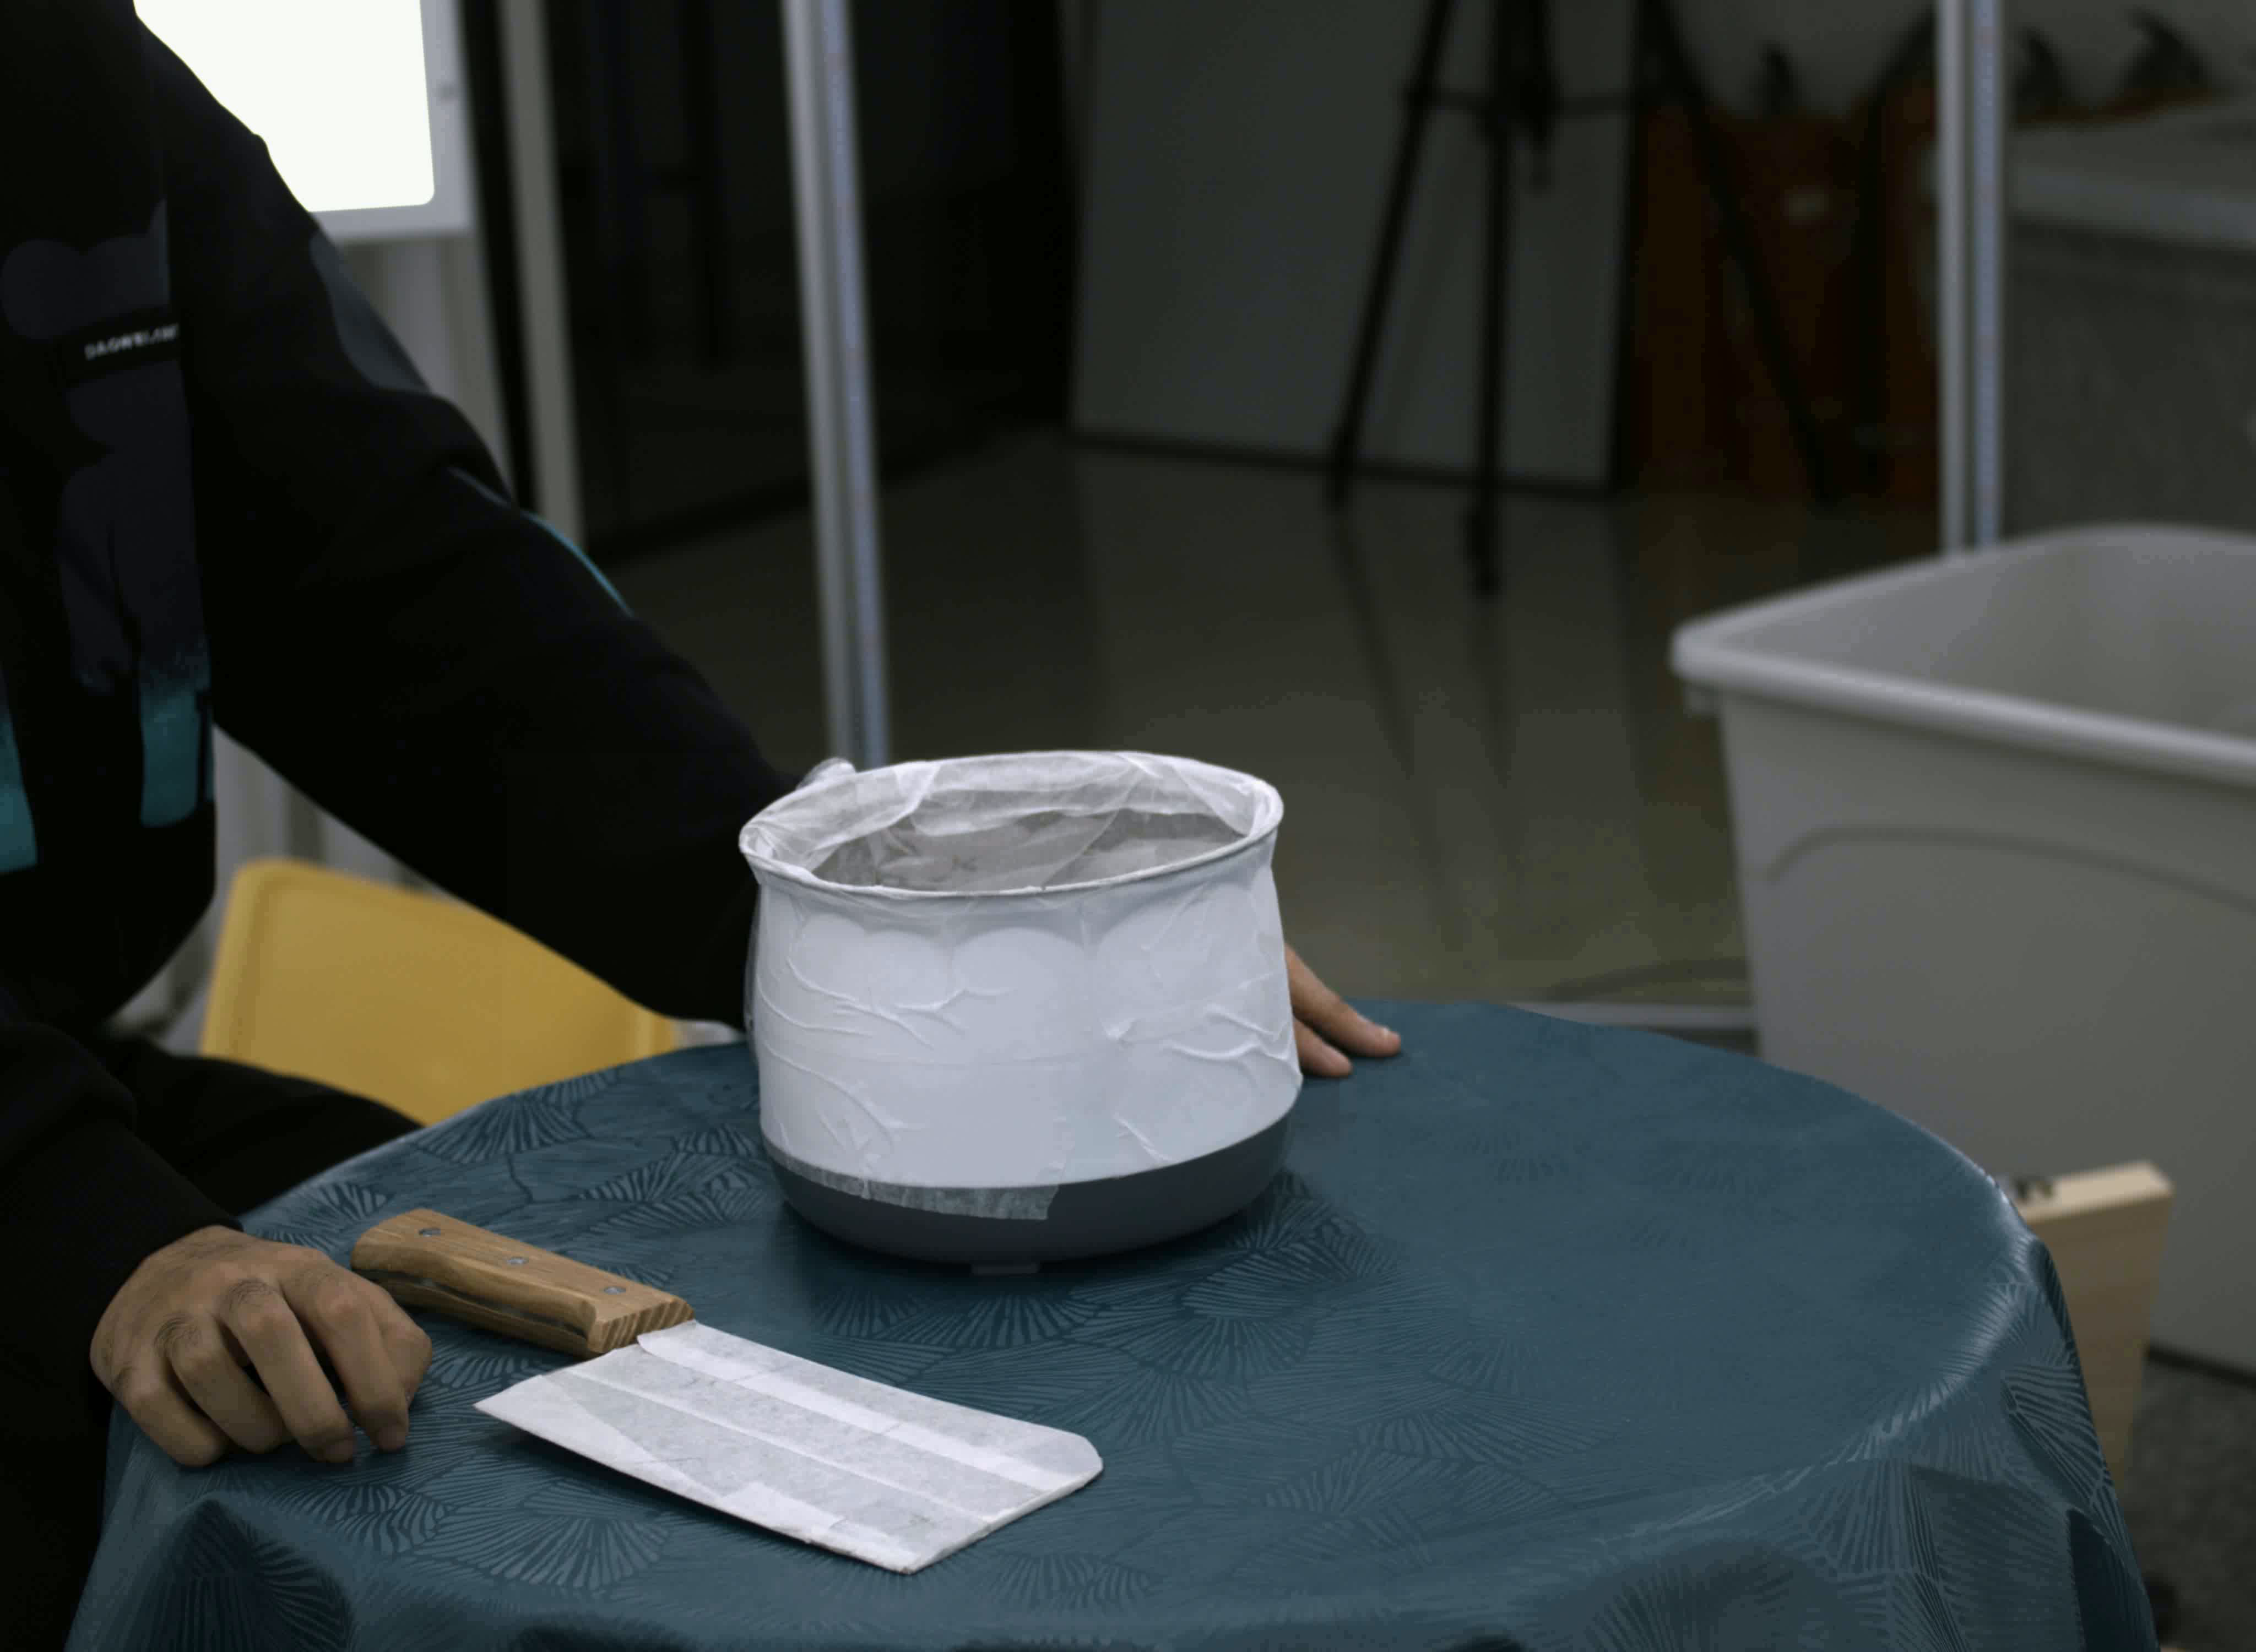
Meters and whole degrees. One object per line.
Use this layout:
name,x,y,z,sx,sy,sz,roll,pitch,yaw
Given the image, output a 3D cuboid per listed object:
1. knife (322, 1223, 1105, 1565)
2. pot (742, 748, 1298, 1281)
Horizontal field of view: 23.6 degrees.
knife,-0.134,0.165,1.598,0.111,0.022,0.318,-16,21,-39
pot,-0.051,0.055,1.768,0.175,0.138,0.236,-14,17,-36
